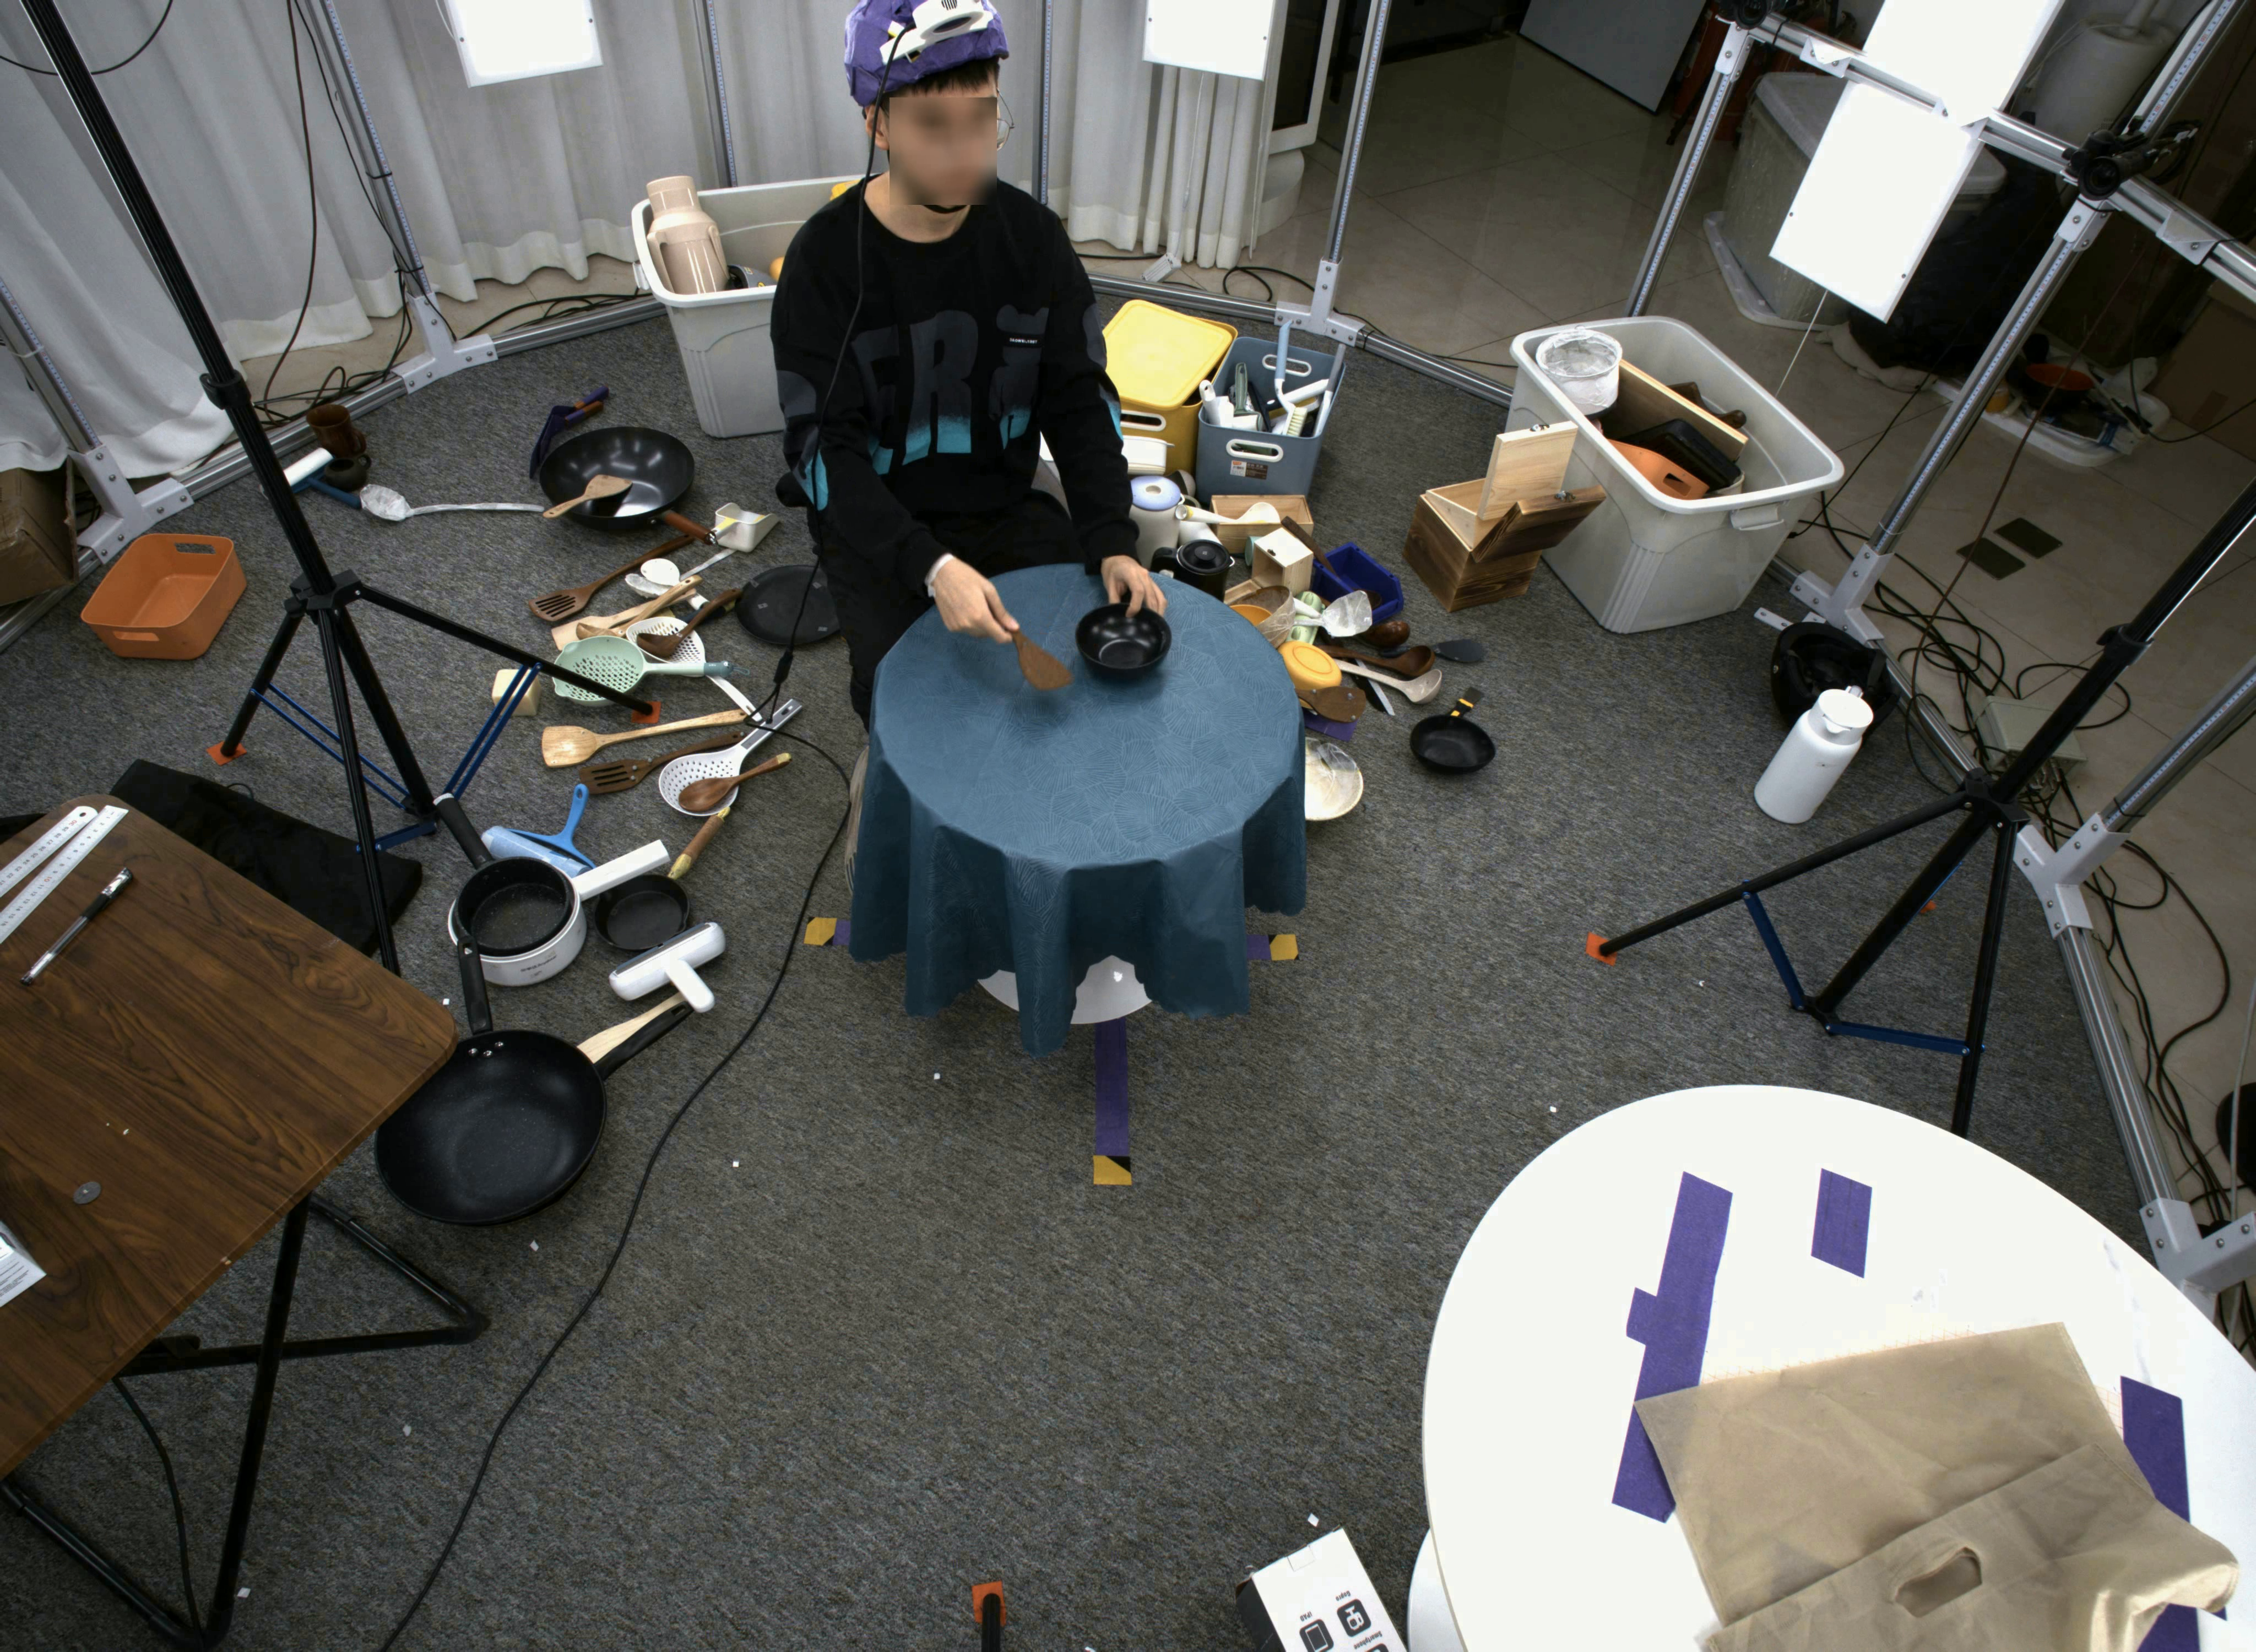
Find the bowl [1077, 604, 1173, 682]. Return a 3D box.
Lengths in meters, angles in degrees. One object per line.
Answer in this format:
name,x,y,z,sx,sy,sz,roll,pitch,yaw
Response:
bowl,-0.004,-0.259,1.876,0.140,0.048,0.143,0,52,0

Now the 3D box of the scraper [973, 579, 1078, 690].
scraper,-0.153,-0.272,1.812,0.076,0.010,0.214,-21,65,-41
